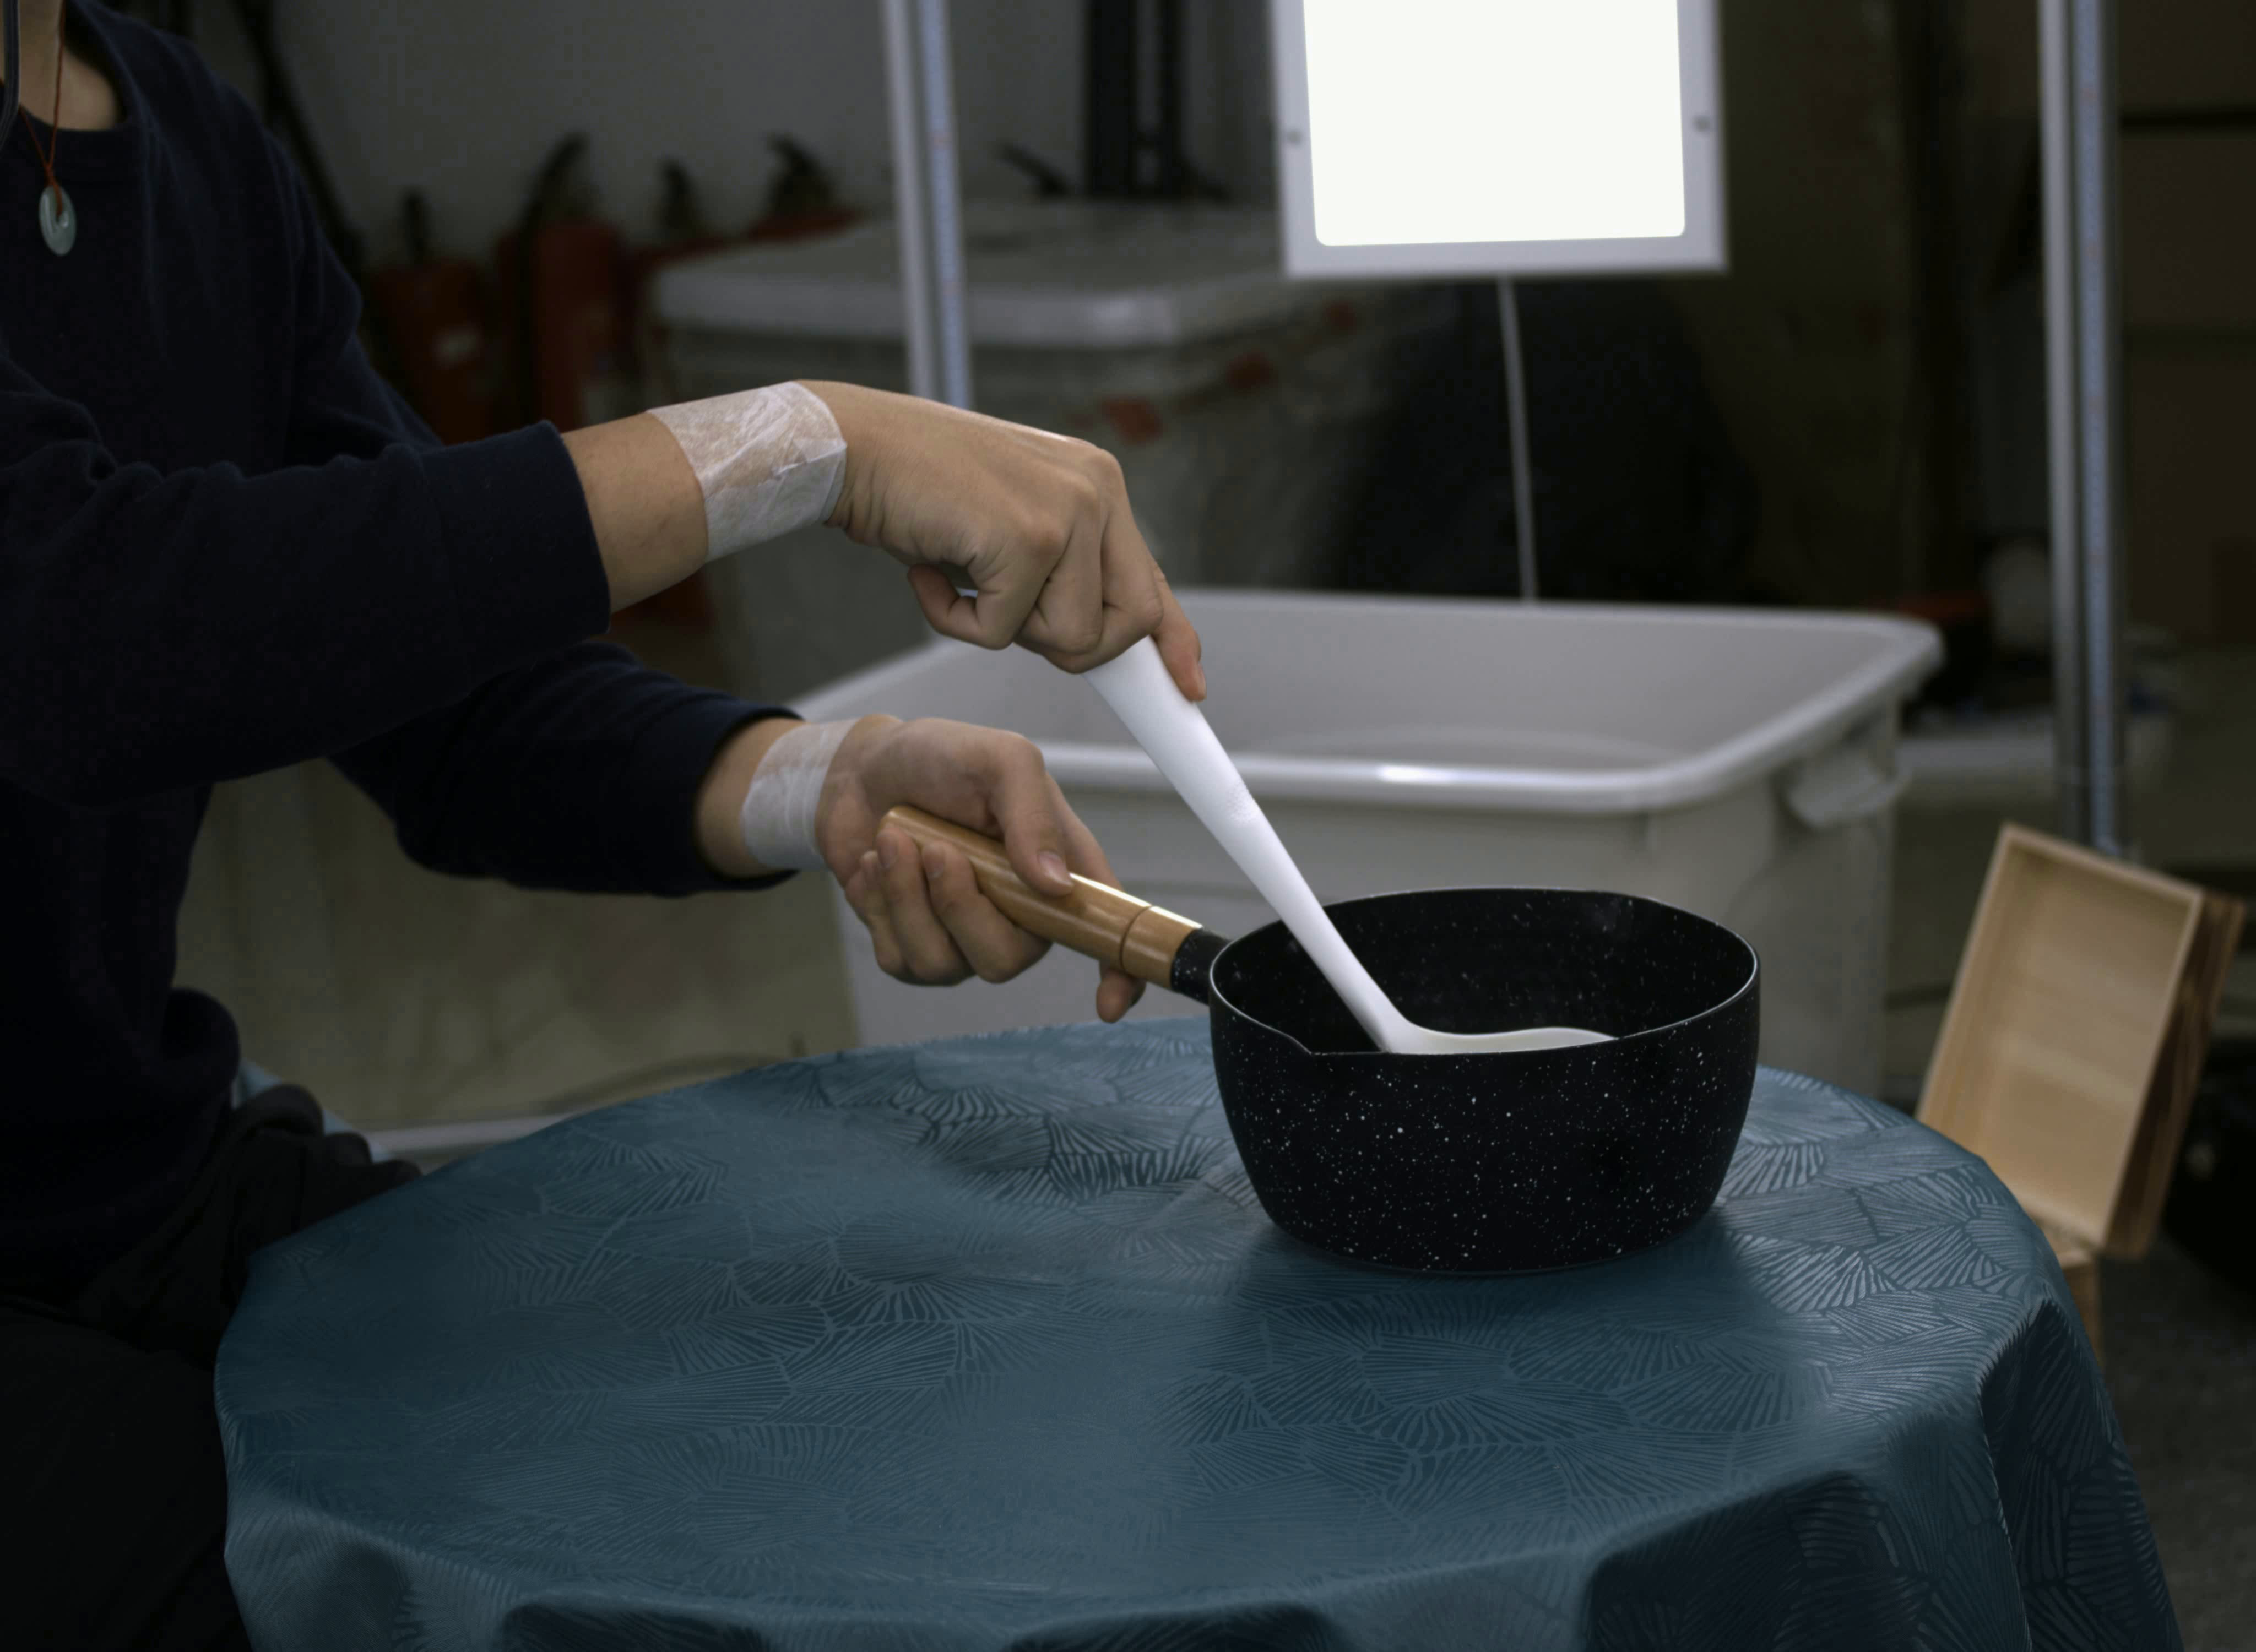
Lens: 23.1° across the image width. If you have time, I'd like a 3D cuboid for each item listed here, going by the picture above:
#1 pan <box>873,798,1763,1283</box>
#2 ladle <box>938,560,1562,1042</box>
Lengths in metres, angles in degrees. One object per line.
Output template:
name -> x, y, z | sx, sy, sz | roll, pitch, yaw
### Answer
pan -> 0.053, 0.065, 1.874 | 0.349, 0.109, 0.202 | 9, 21, 34
ladle -> 0.057, 0.019, 1.820 | 0.088, 0.292, 0.071 | -46, 4, -40
